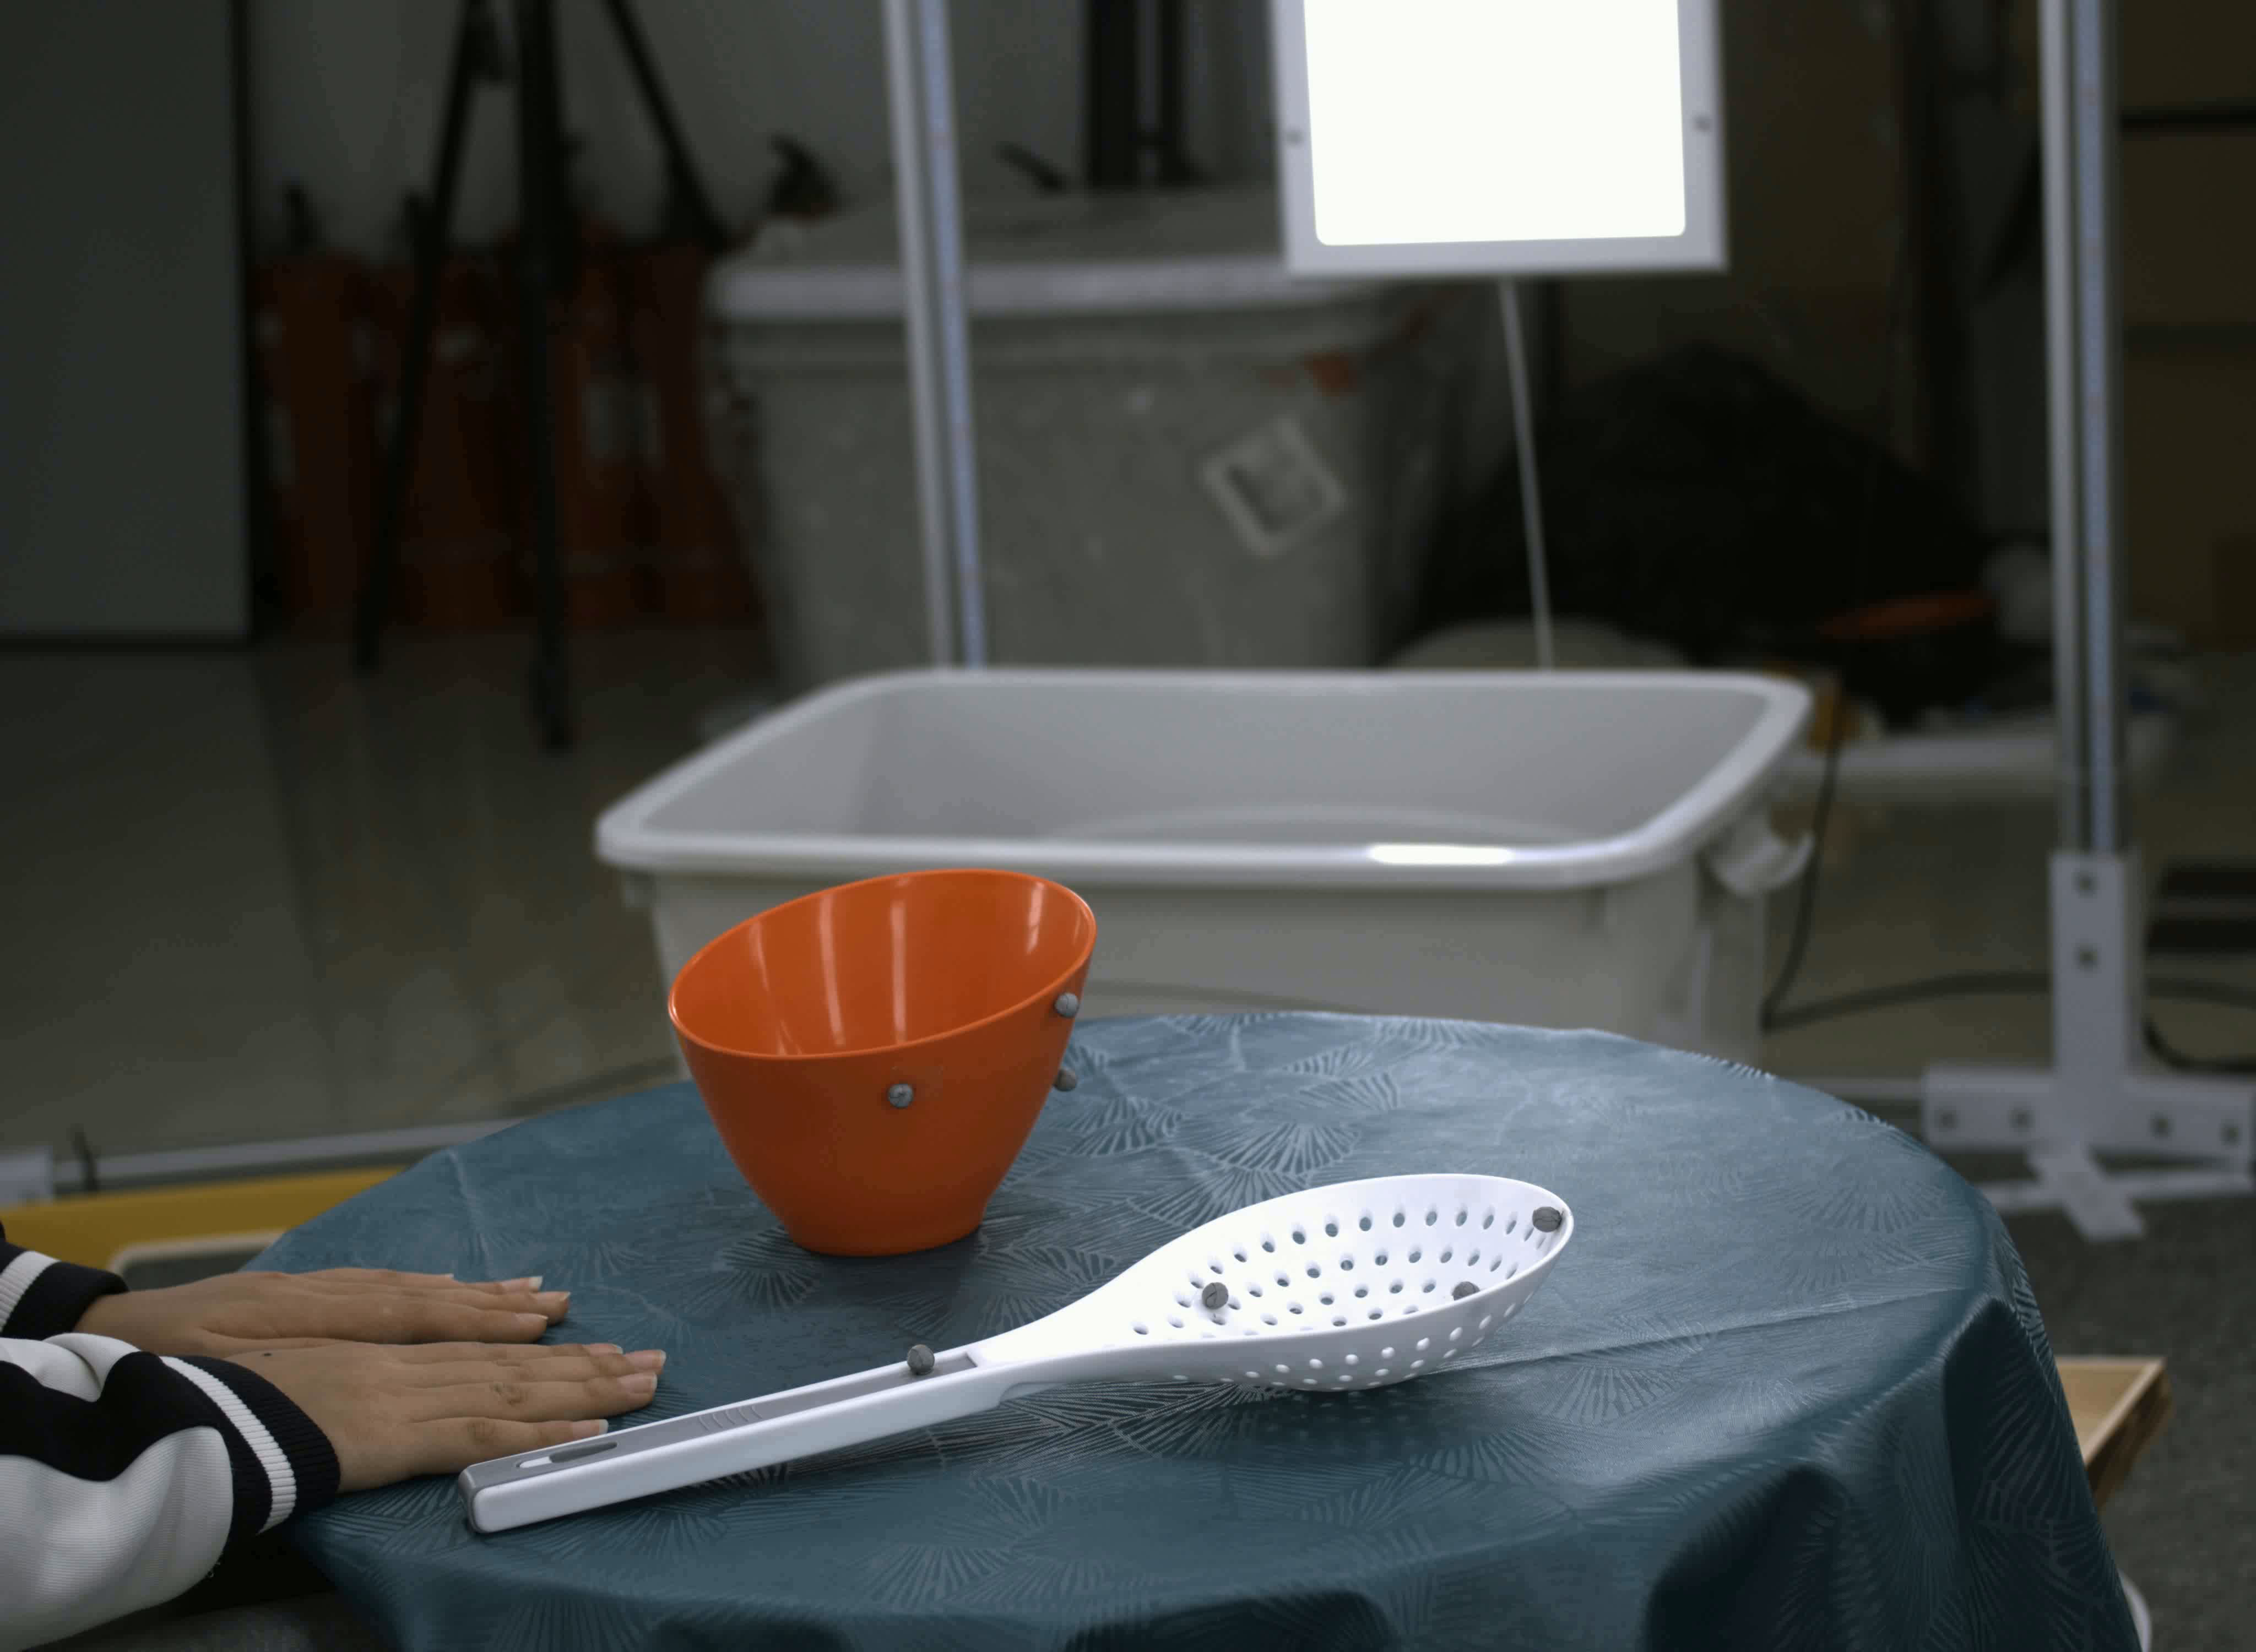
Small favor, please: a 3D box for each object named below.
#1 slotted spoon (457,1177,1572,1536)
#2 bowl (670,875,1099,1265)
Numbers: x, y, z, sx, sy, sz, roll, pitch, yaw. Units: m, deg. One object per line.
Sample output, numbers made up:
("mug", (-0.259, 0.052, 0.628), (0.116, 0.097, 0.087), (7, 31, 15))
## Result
("slotted spoon", (-0.031, 0.162, 1.669), (0.345, 0.046, 0.137), (-9, 13, -12))
("bowl", (-0.080, 0.087, 1.880), (0.147, 0.105, 0.148), (-5, 15, 0))
